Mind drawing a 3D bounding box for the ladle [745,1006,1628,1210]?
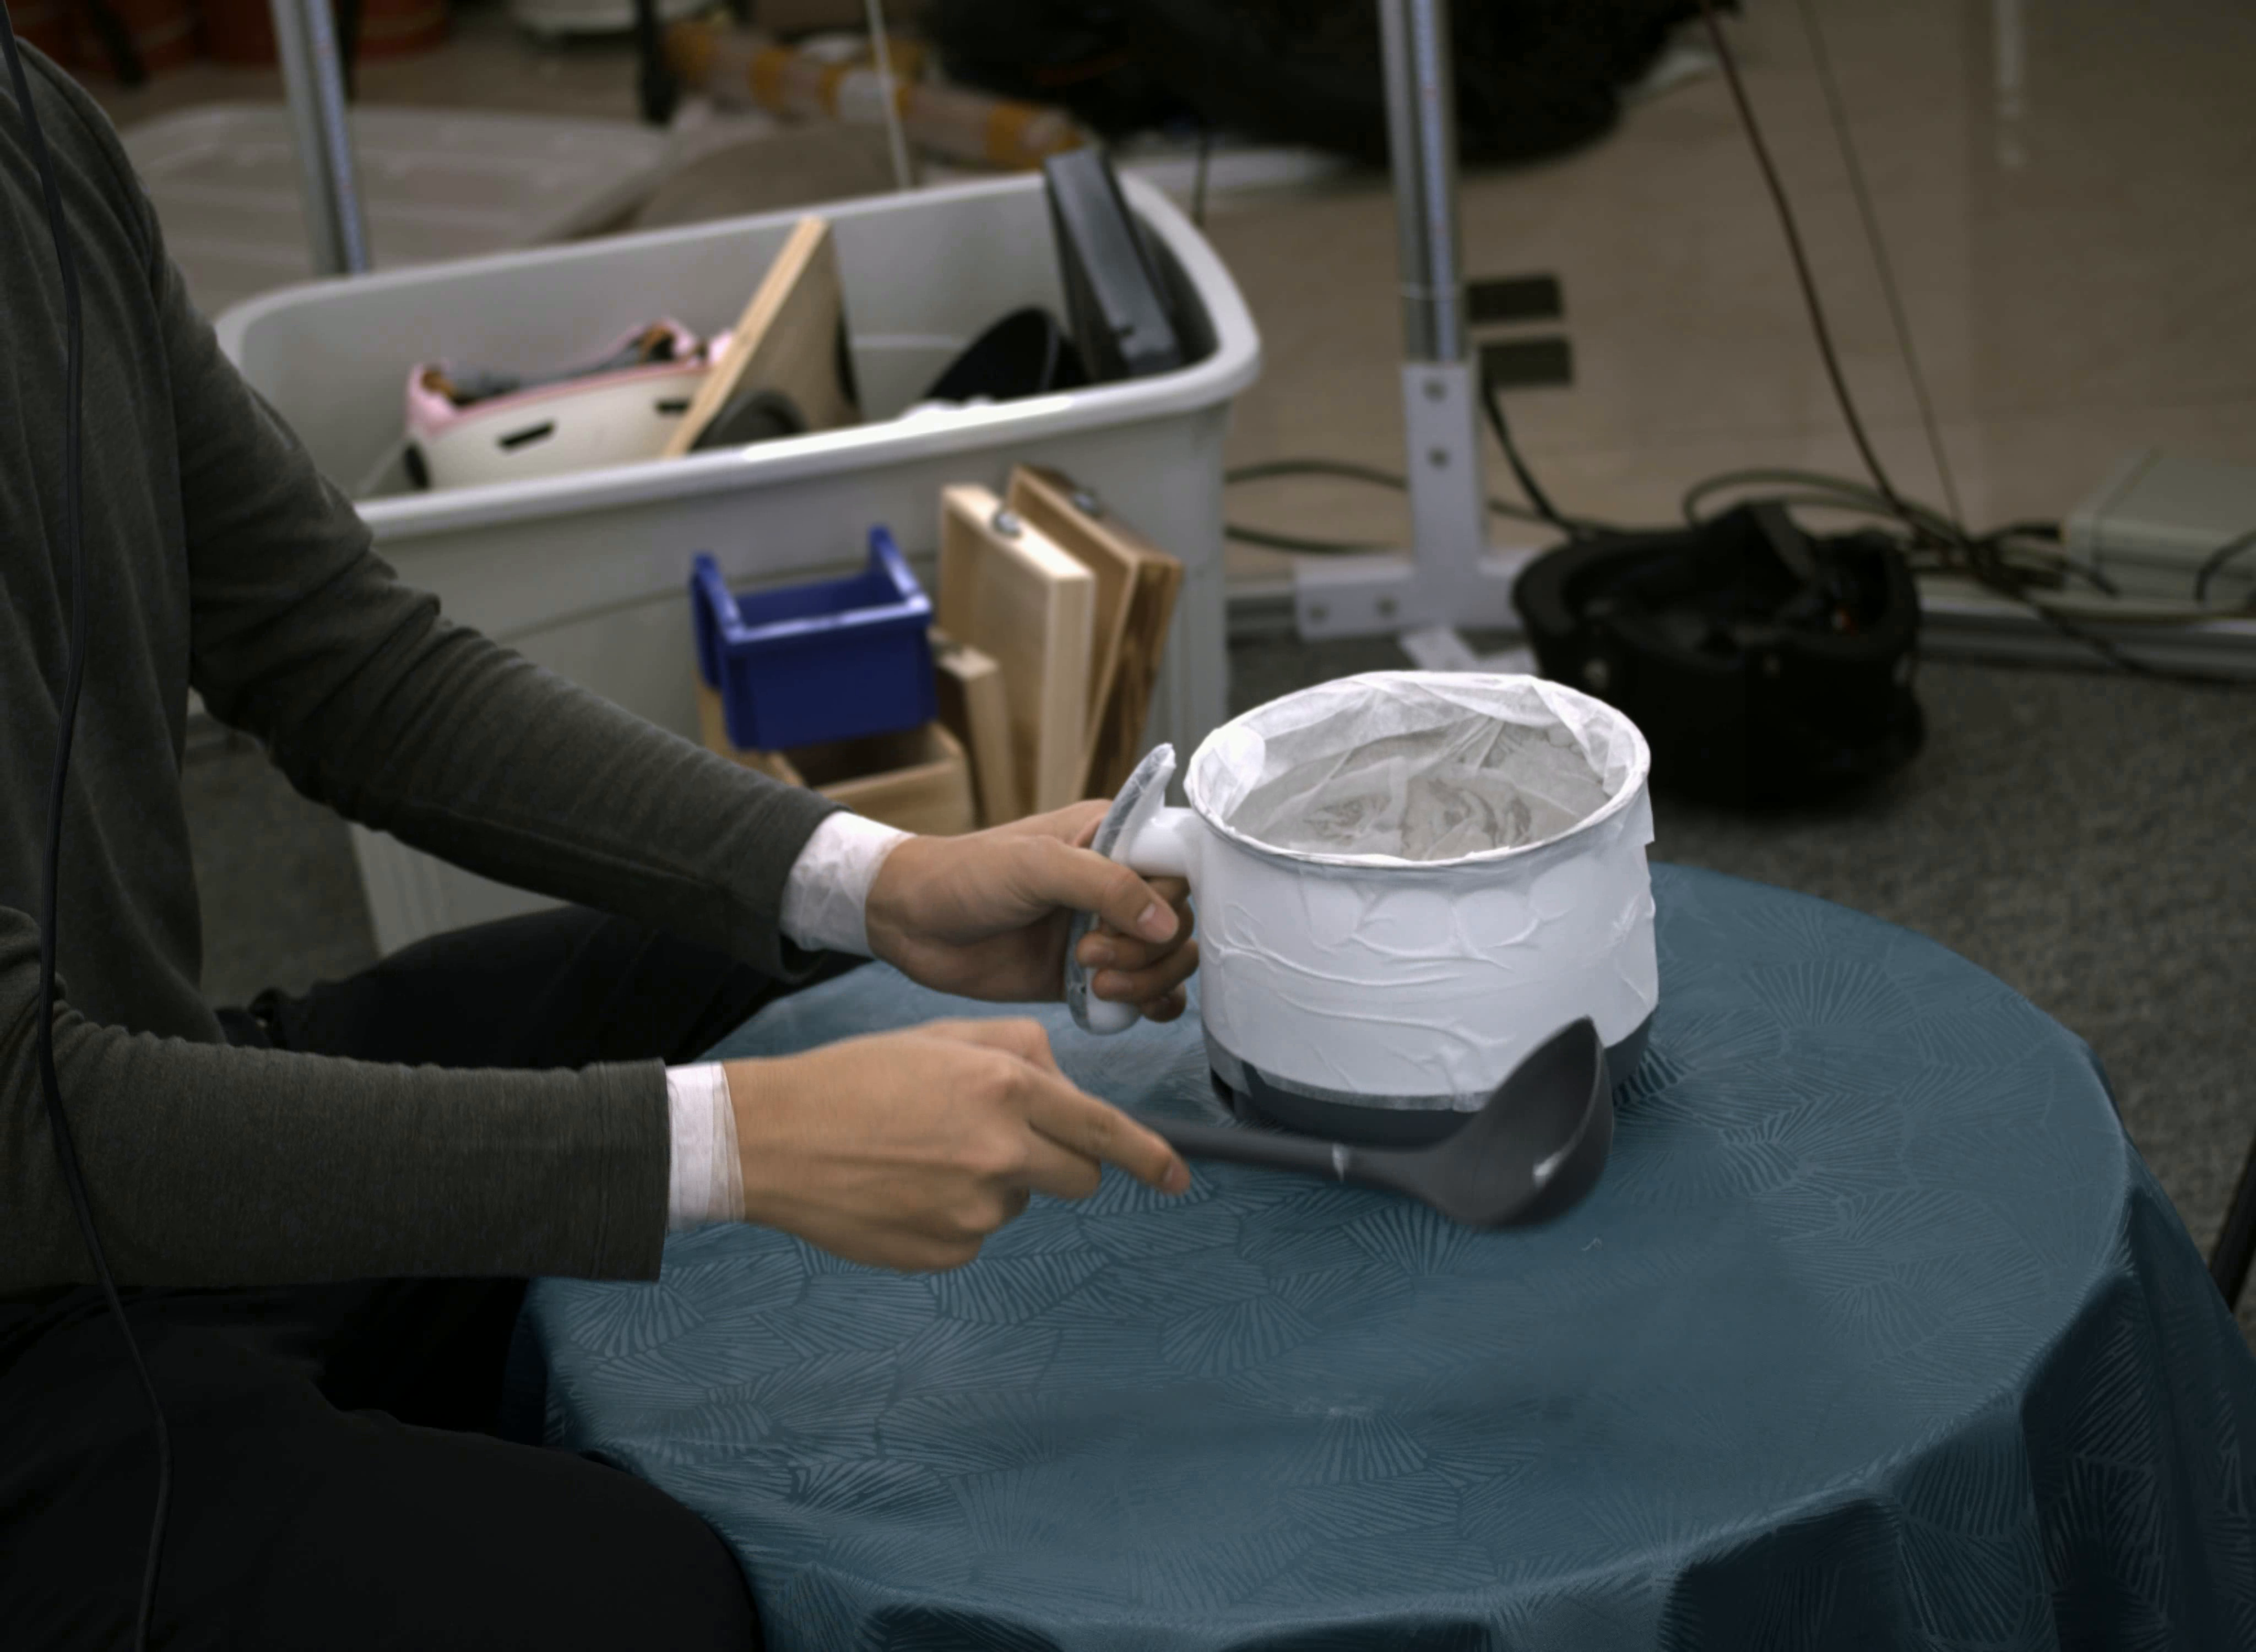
[{"bbox_3d":[0.018,0.086,1.980,0.313,0.065,0.085,7,35,9],"label":"ladle"}]

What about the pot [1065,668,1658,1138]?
[{"bbox_3d":[0.087,0.032,2.181,0.233,0.139,0.176,2,26,13],"label":"pot"}]
